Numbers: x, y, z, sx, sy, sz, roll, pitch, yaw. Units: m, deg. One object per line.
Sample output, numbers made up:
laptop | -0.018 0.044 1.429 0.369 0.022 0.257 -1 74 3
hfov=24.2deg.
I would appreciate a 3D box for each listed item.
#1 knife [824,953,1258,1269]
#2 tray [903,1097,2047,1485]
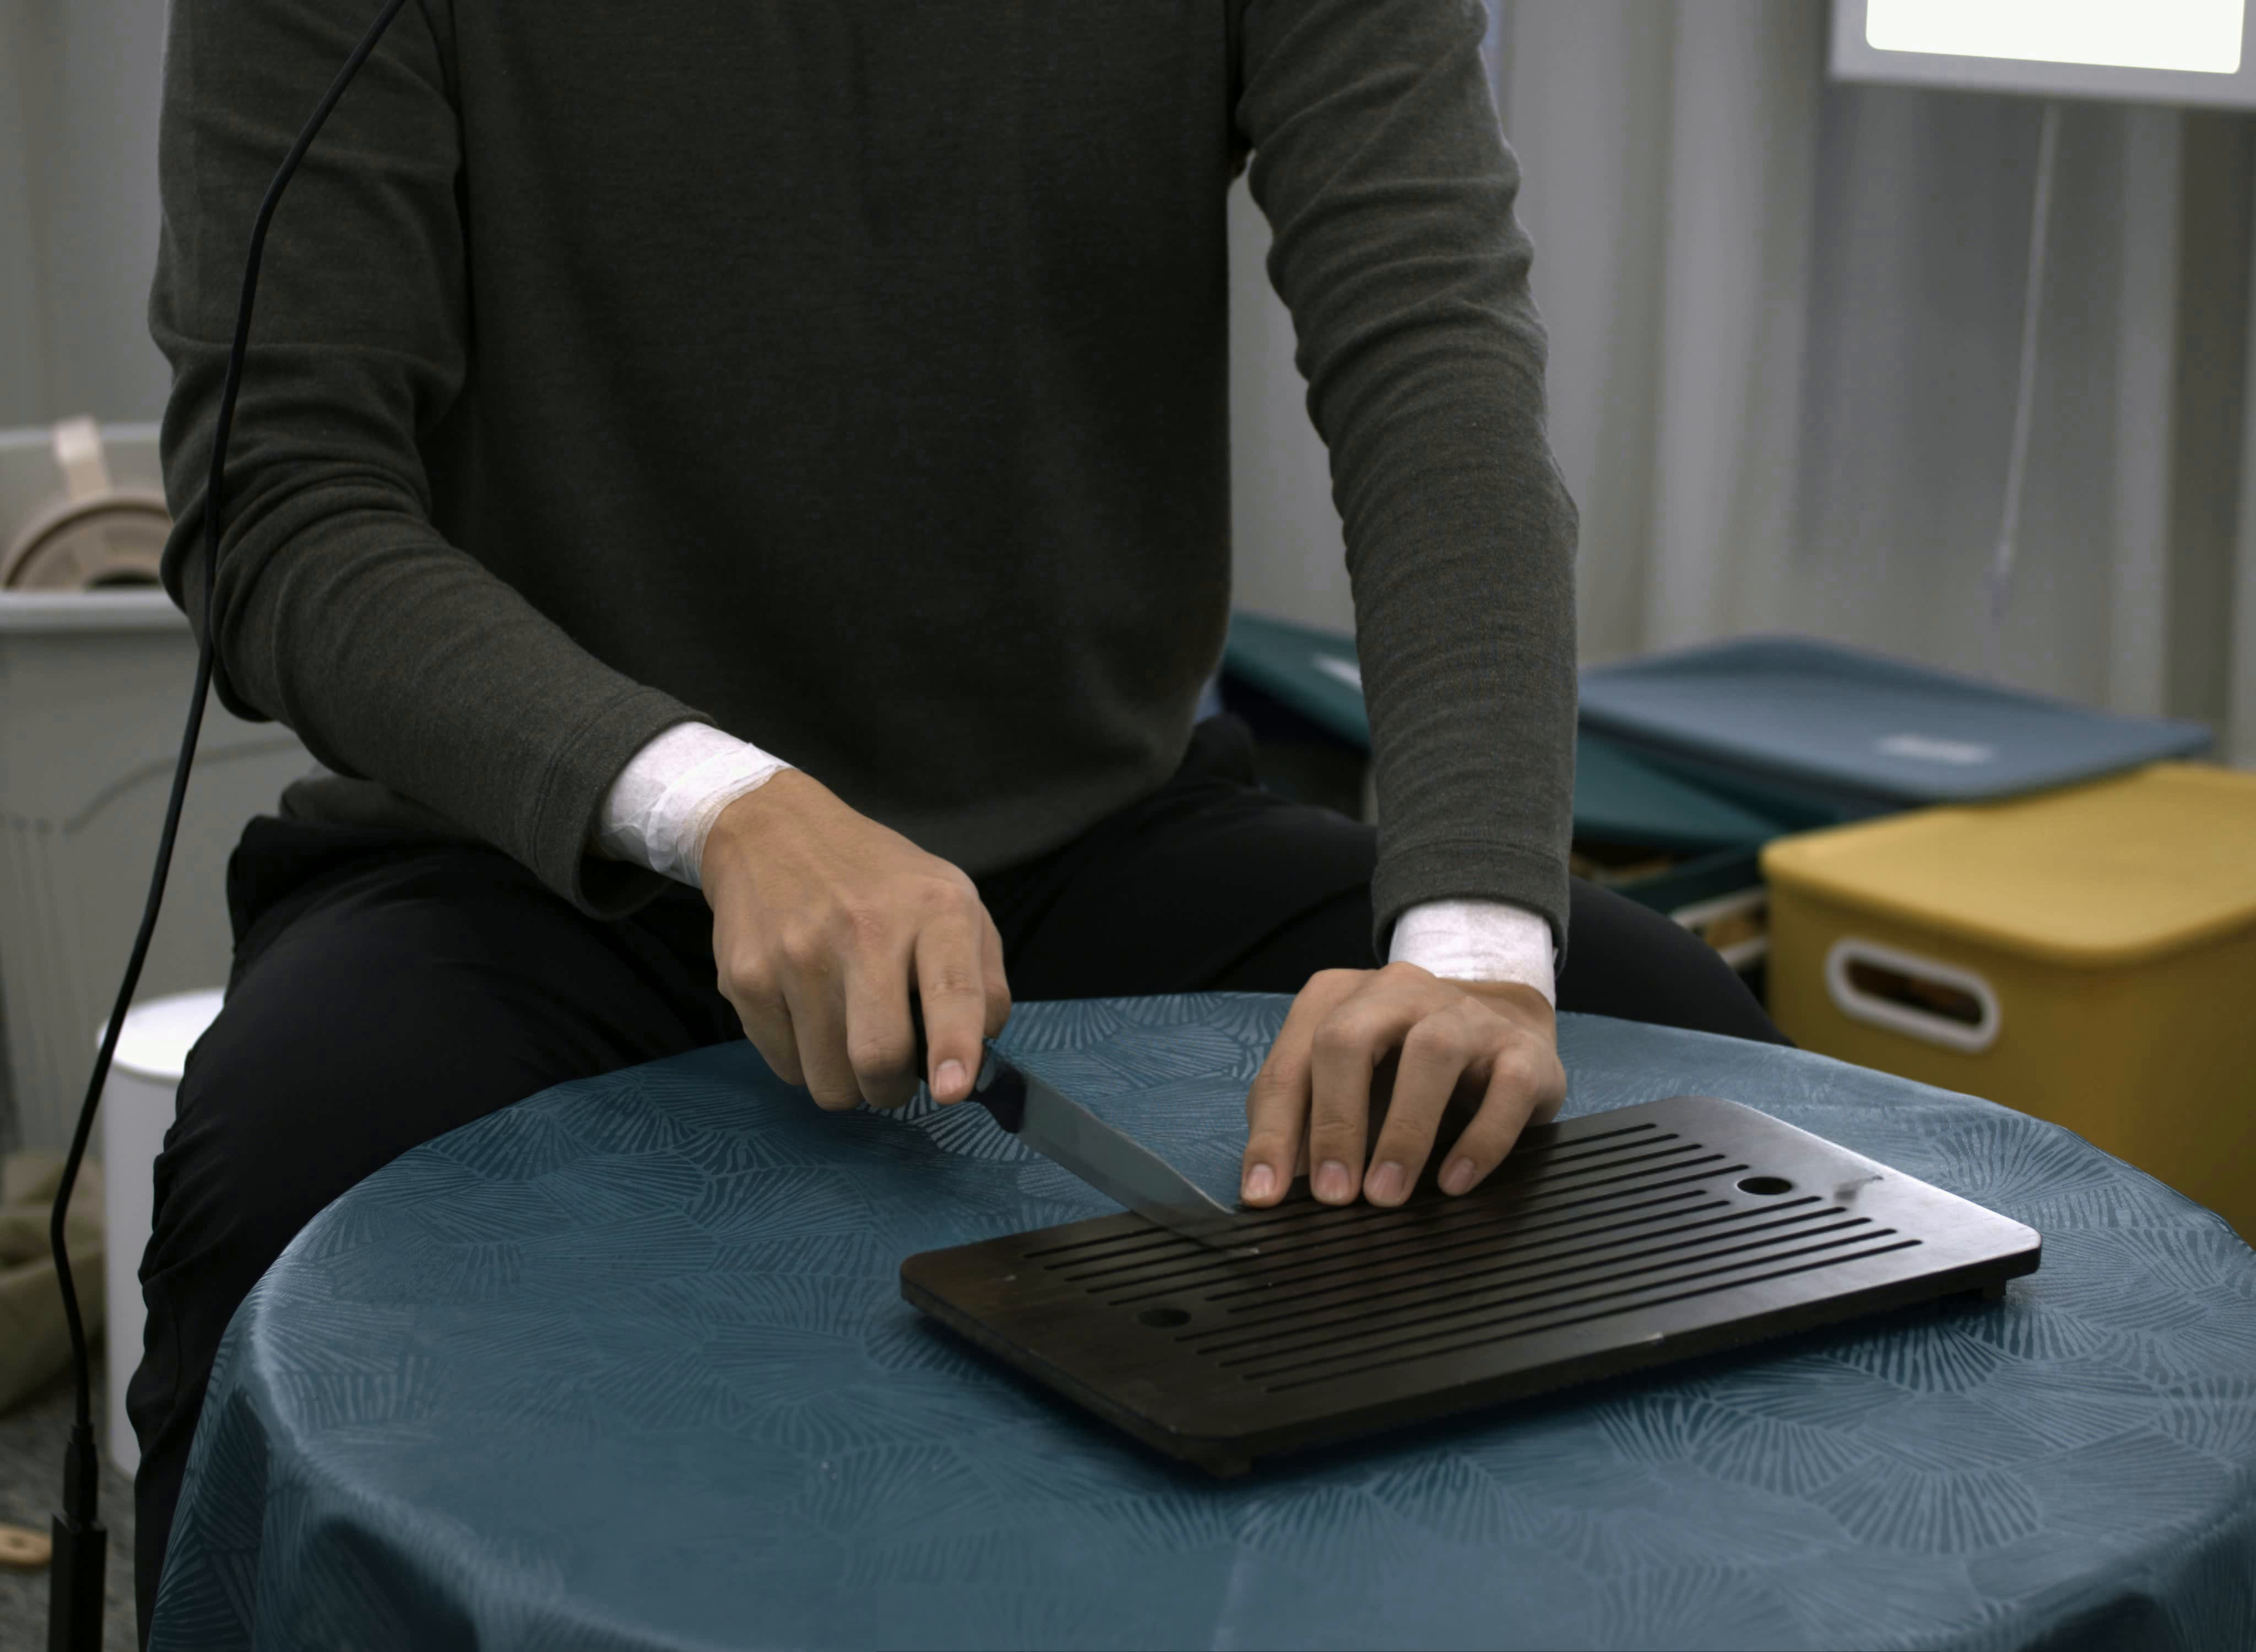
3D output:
knife | -0.027 0.085 1.595 0.016 0.024 0.235 -1 20 -36
tray | 0.102 0.131 1.527 0.307 0.019 0.168 -9 17 -32
